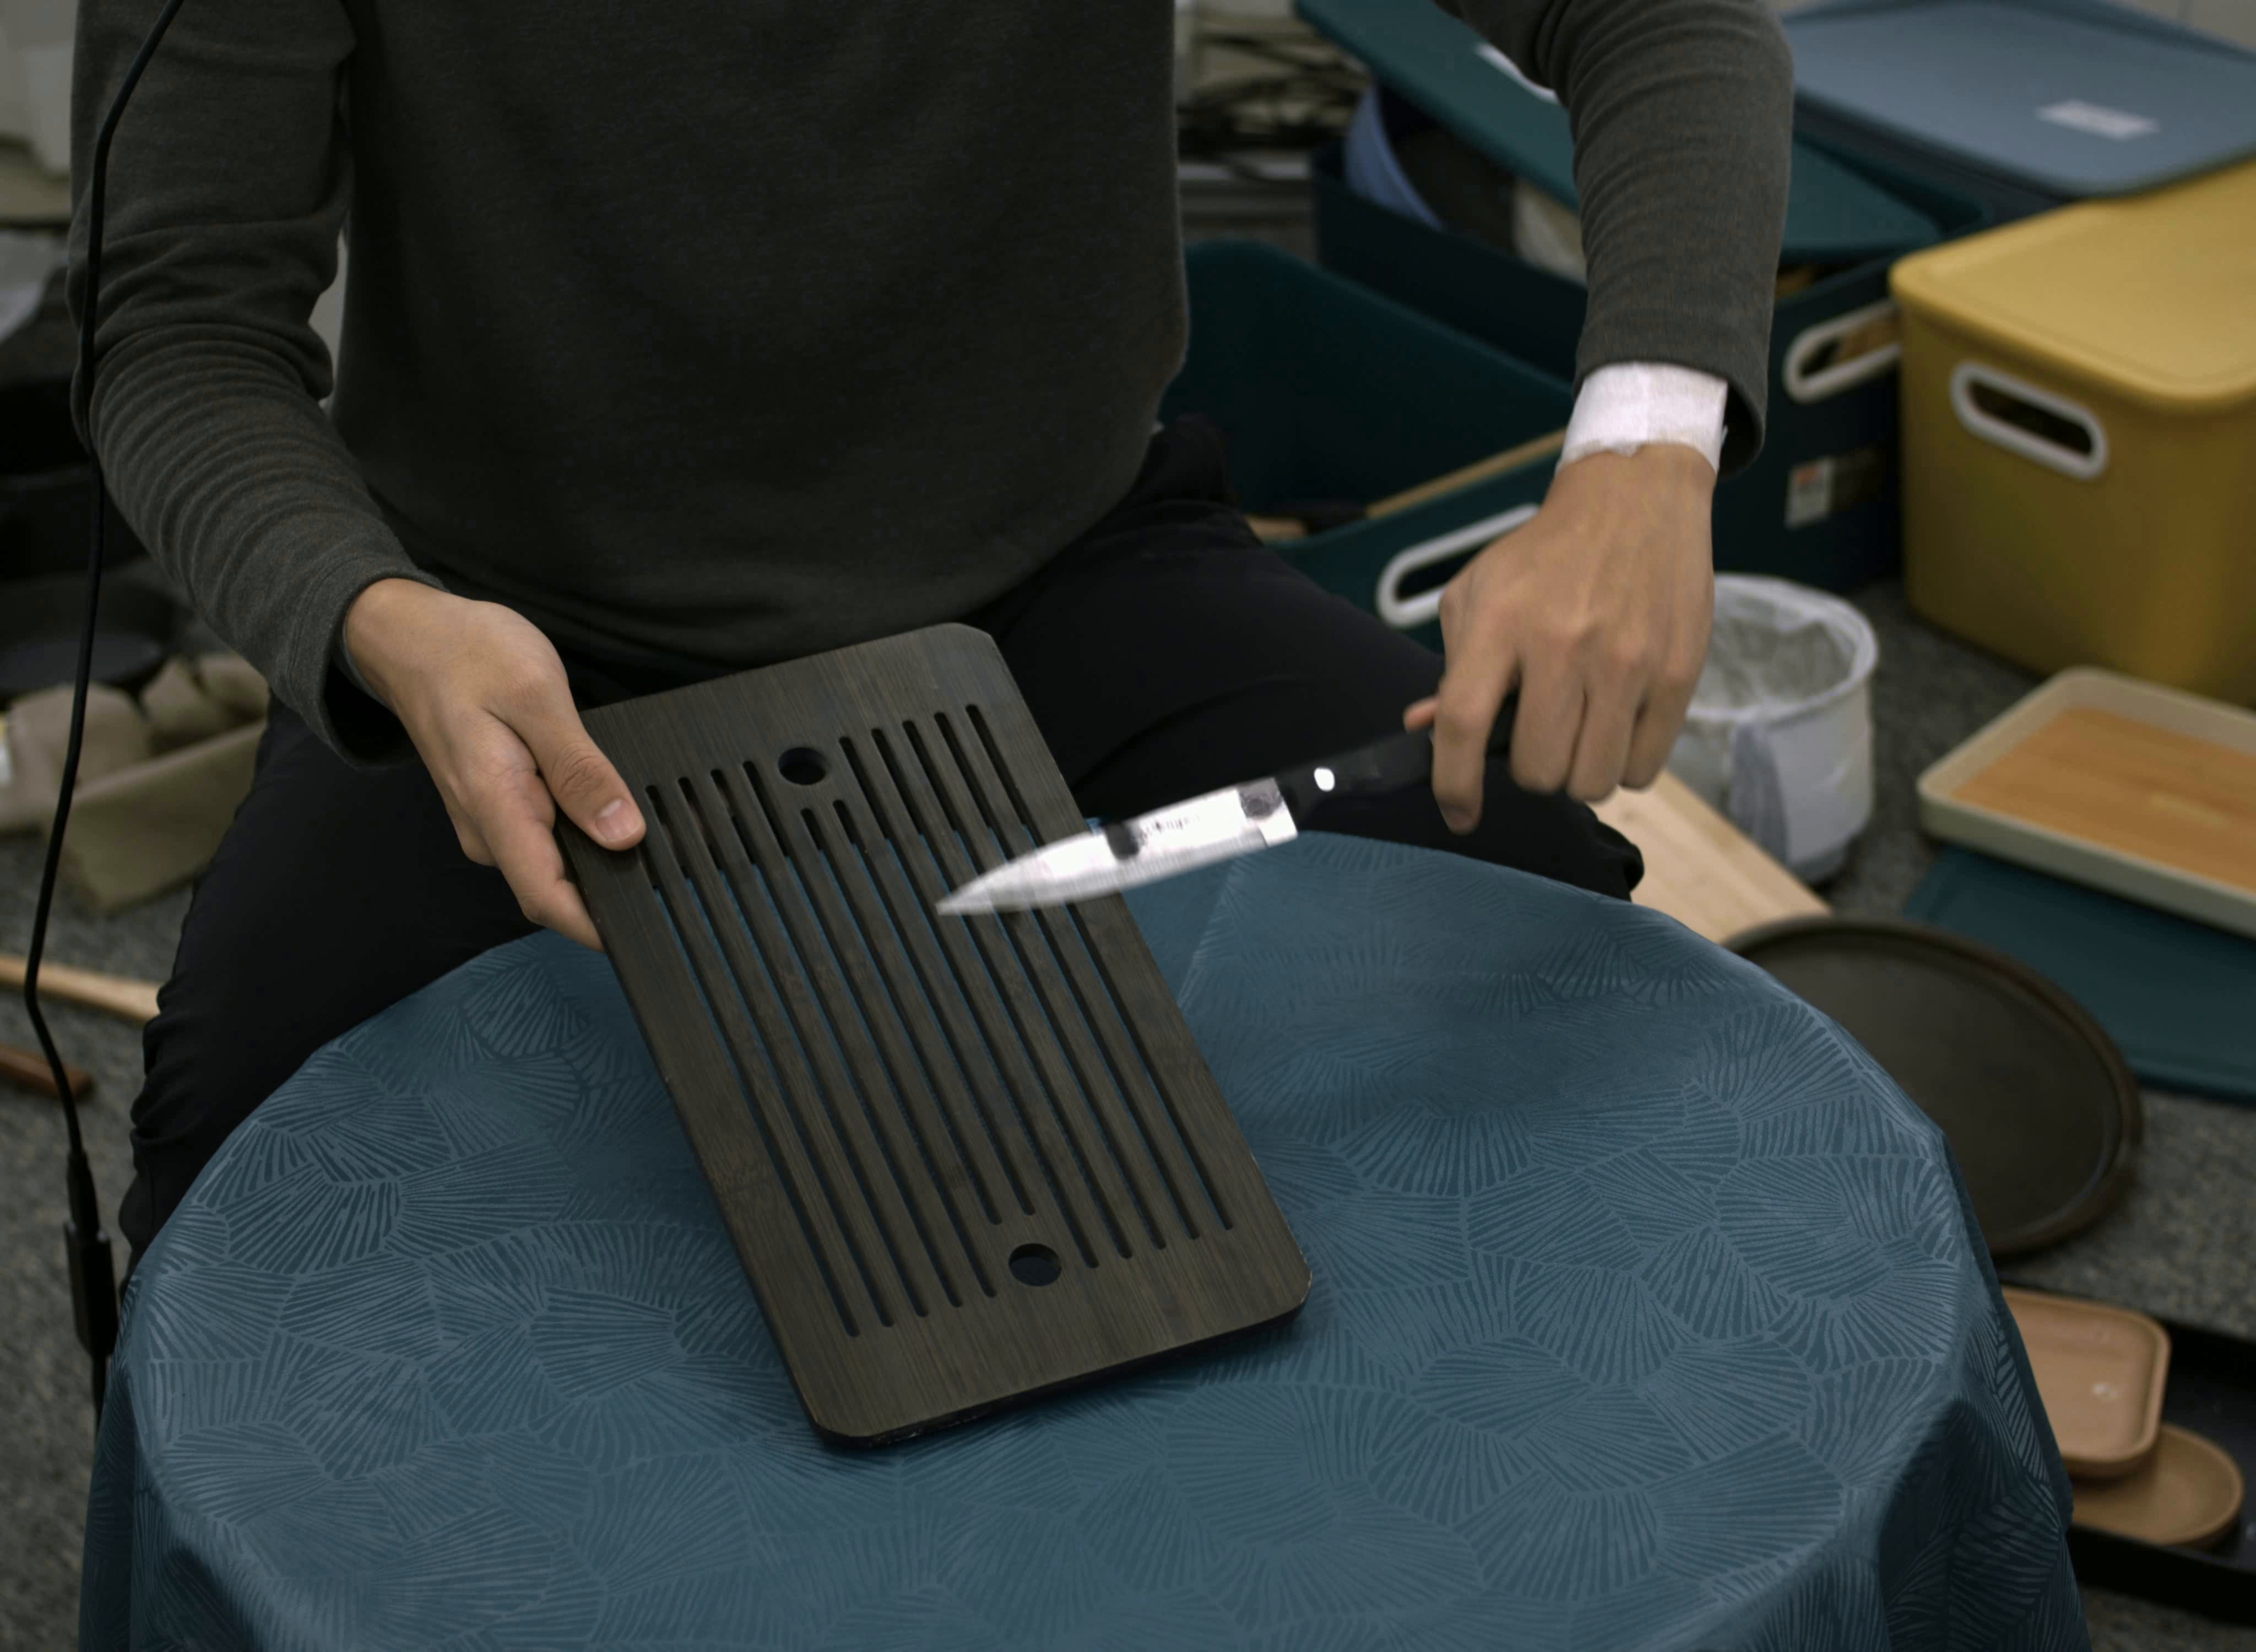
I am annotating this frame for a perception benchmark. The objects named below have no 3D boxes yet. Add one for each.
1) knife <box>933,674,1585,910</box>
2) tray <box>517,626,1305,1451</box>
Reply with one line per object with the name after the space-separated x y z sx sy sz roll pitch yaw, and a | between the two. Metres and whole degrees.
0.044 -0.011 1.896 0.239 0.016 0.025 -18 71 -15 | knife
-0.075 0.064 1.838 0.170 0.018 0.310 -14 53 -18 | tray
